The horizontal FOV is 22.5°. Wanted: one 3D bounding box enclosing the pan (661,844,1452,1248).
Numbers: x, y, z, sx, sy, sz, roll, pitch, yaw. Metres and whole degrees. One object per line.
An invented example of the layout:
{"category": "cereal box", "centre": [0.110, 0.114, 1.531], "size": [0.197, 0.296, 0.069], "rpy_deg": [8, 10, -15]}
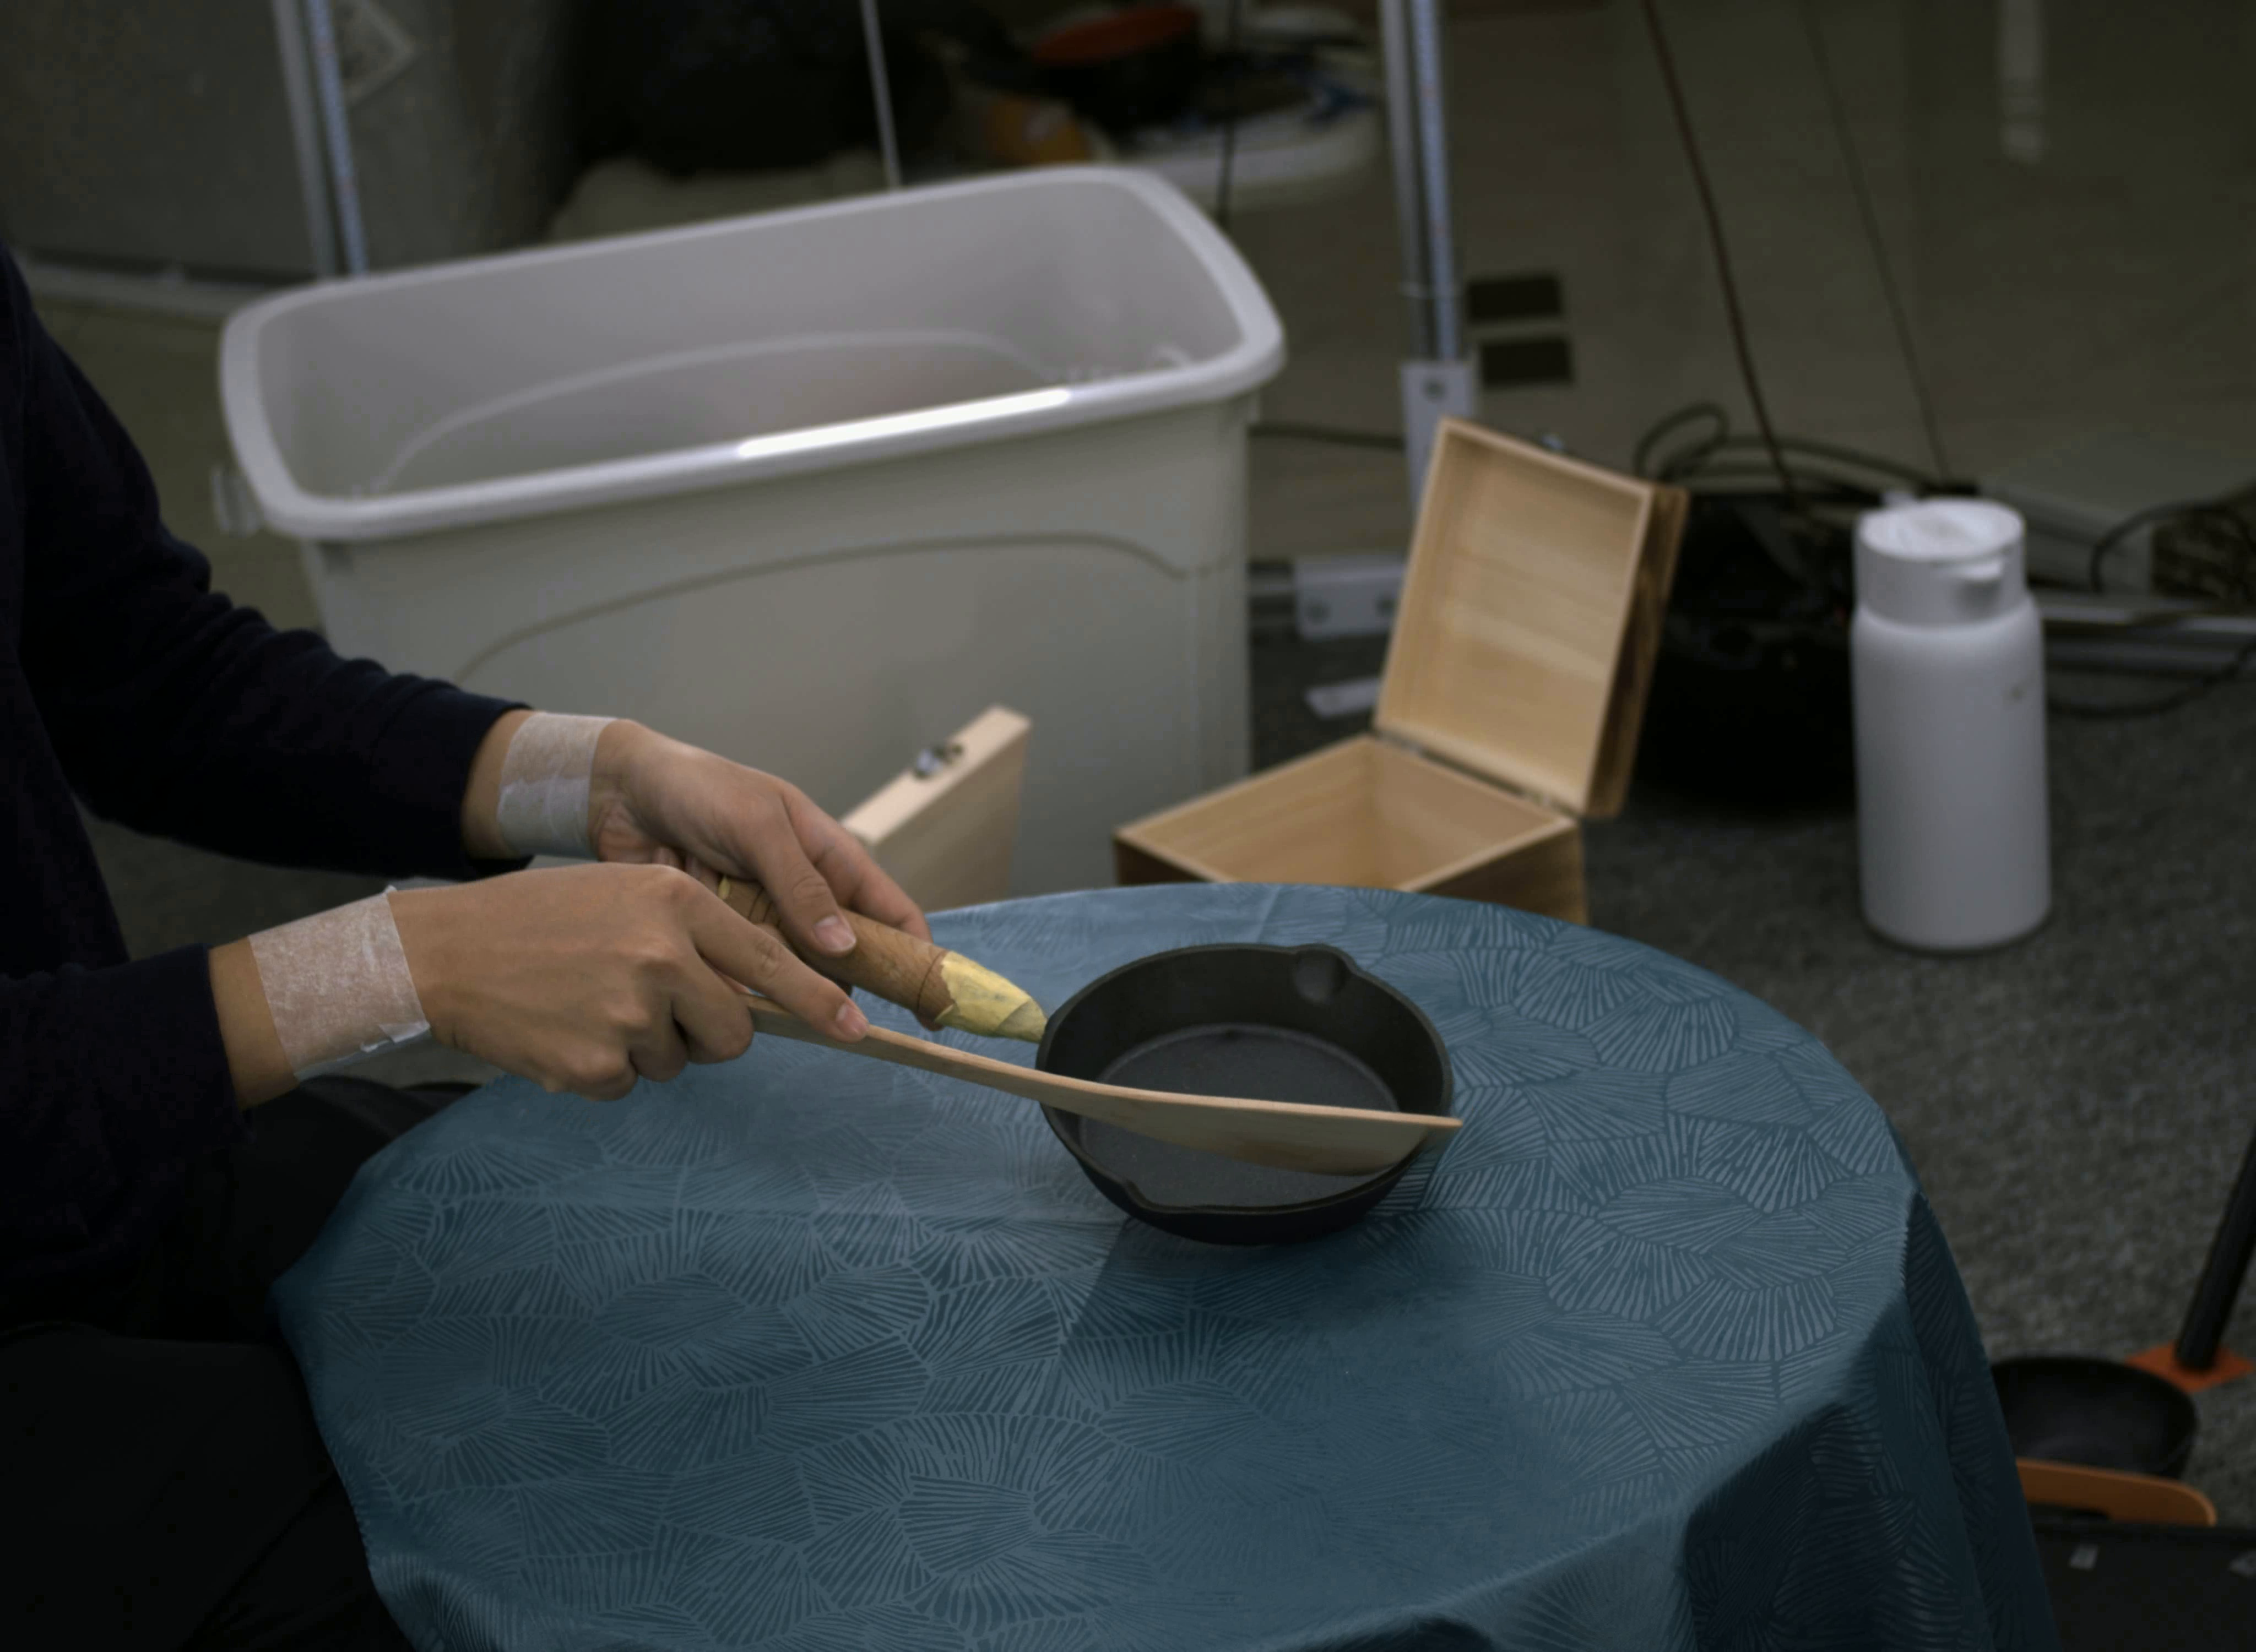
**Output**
{"category": "pan", "centre": [-0.033, 0.075, 2.158], "size": [0.322, 0.050, 0.166], "rpy_deg": [19, 42, 19]}

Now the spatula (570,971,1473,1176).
{"category": "spatula", "centre": [-0.041, 0.088, 2.044], "size": [0.328, 0.081, 0.016], "rpy_deg": [13, 68, -11]}
